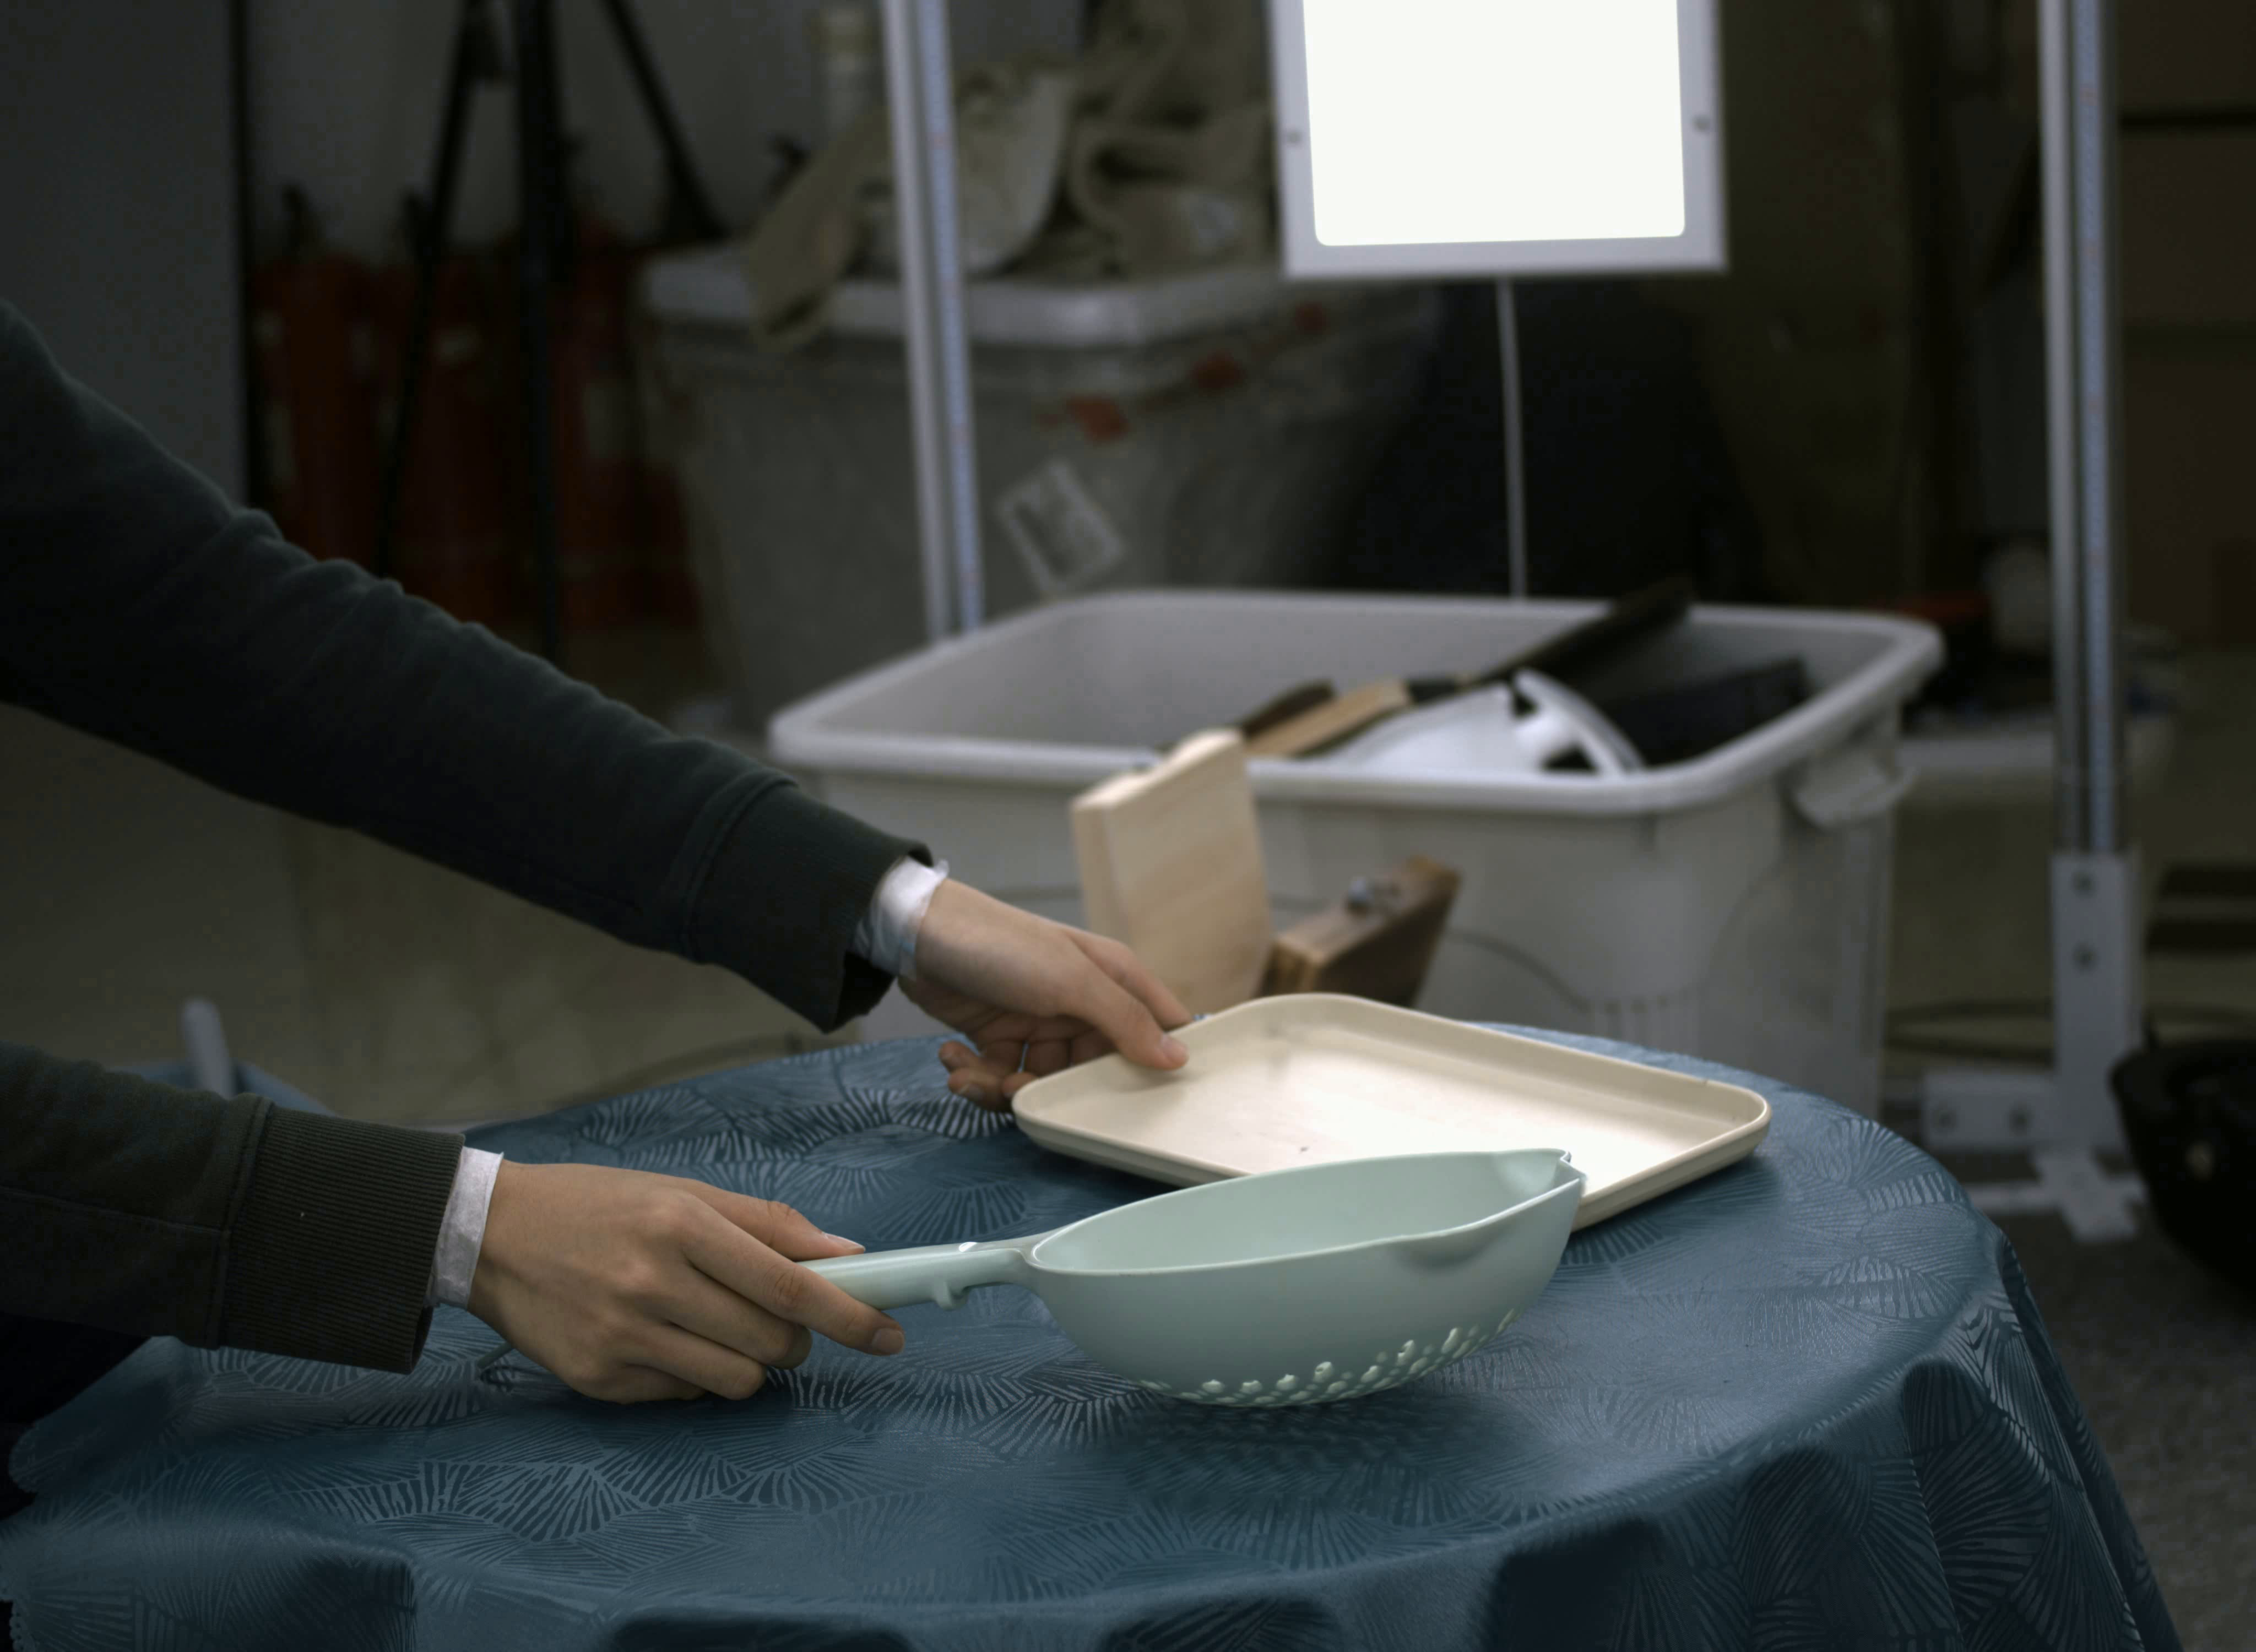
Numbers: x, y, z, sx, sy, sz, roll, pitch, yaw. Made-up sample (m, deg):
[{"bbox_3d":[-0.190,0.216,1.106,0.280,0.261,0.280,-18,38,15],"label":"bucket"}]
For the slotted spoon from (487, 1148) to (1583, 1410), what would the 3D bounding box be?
[{"bbox_3d":[-0.036,0.141,1.708,0.363,0.075,0.166,1,6,19],"label":"slotted spoon"}]

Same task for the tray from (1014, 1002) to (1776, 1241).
[{"bbox_3d":[0.092,0.104,1.906,0.245,0.017,0.167,11,21,44],"label":"tray"}]
